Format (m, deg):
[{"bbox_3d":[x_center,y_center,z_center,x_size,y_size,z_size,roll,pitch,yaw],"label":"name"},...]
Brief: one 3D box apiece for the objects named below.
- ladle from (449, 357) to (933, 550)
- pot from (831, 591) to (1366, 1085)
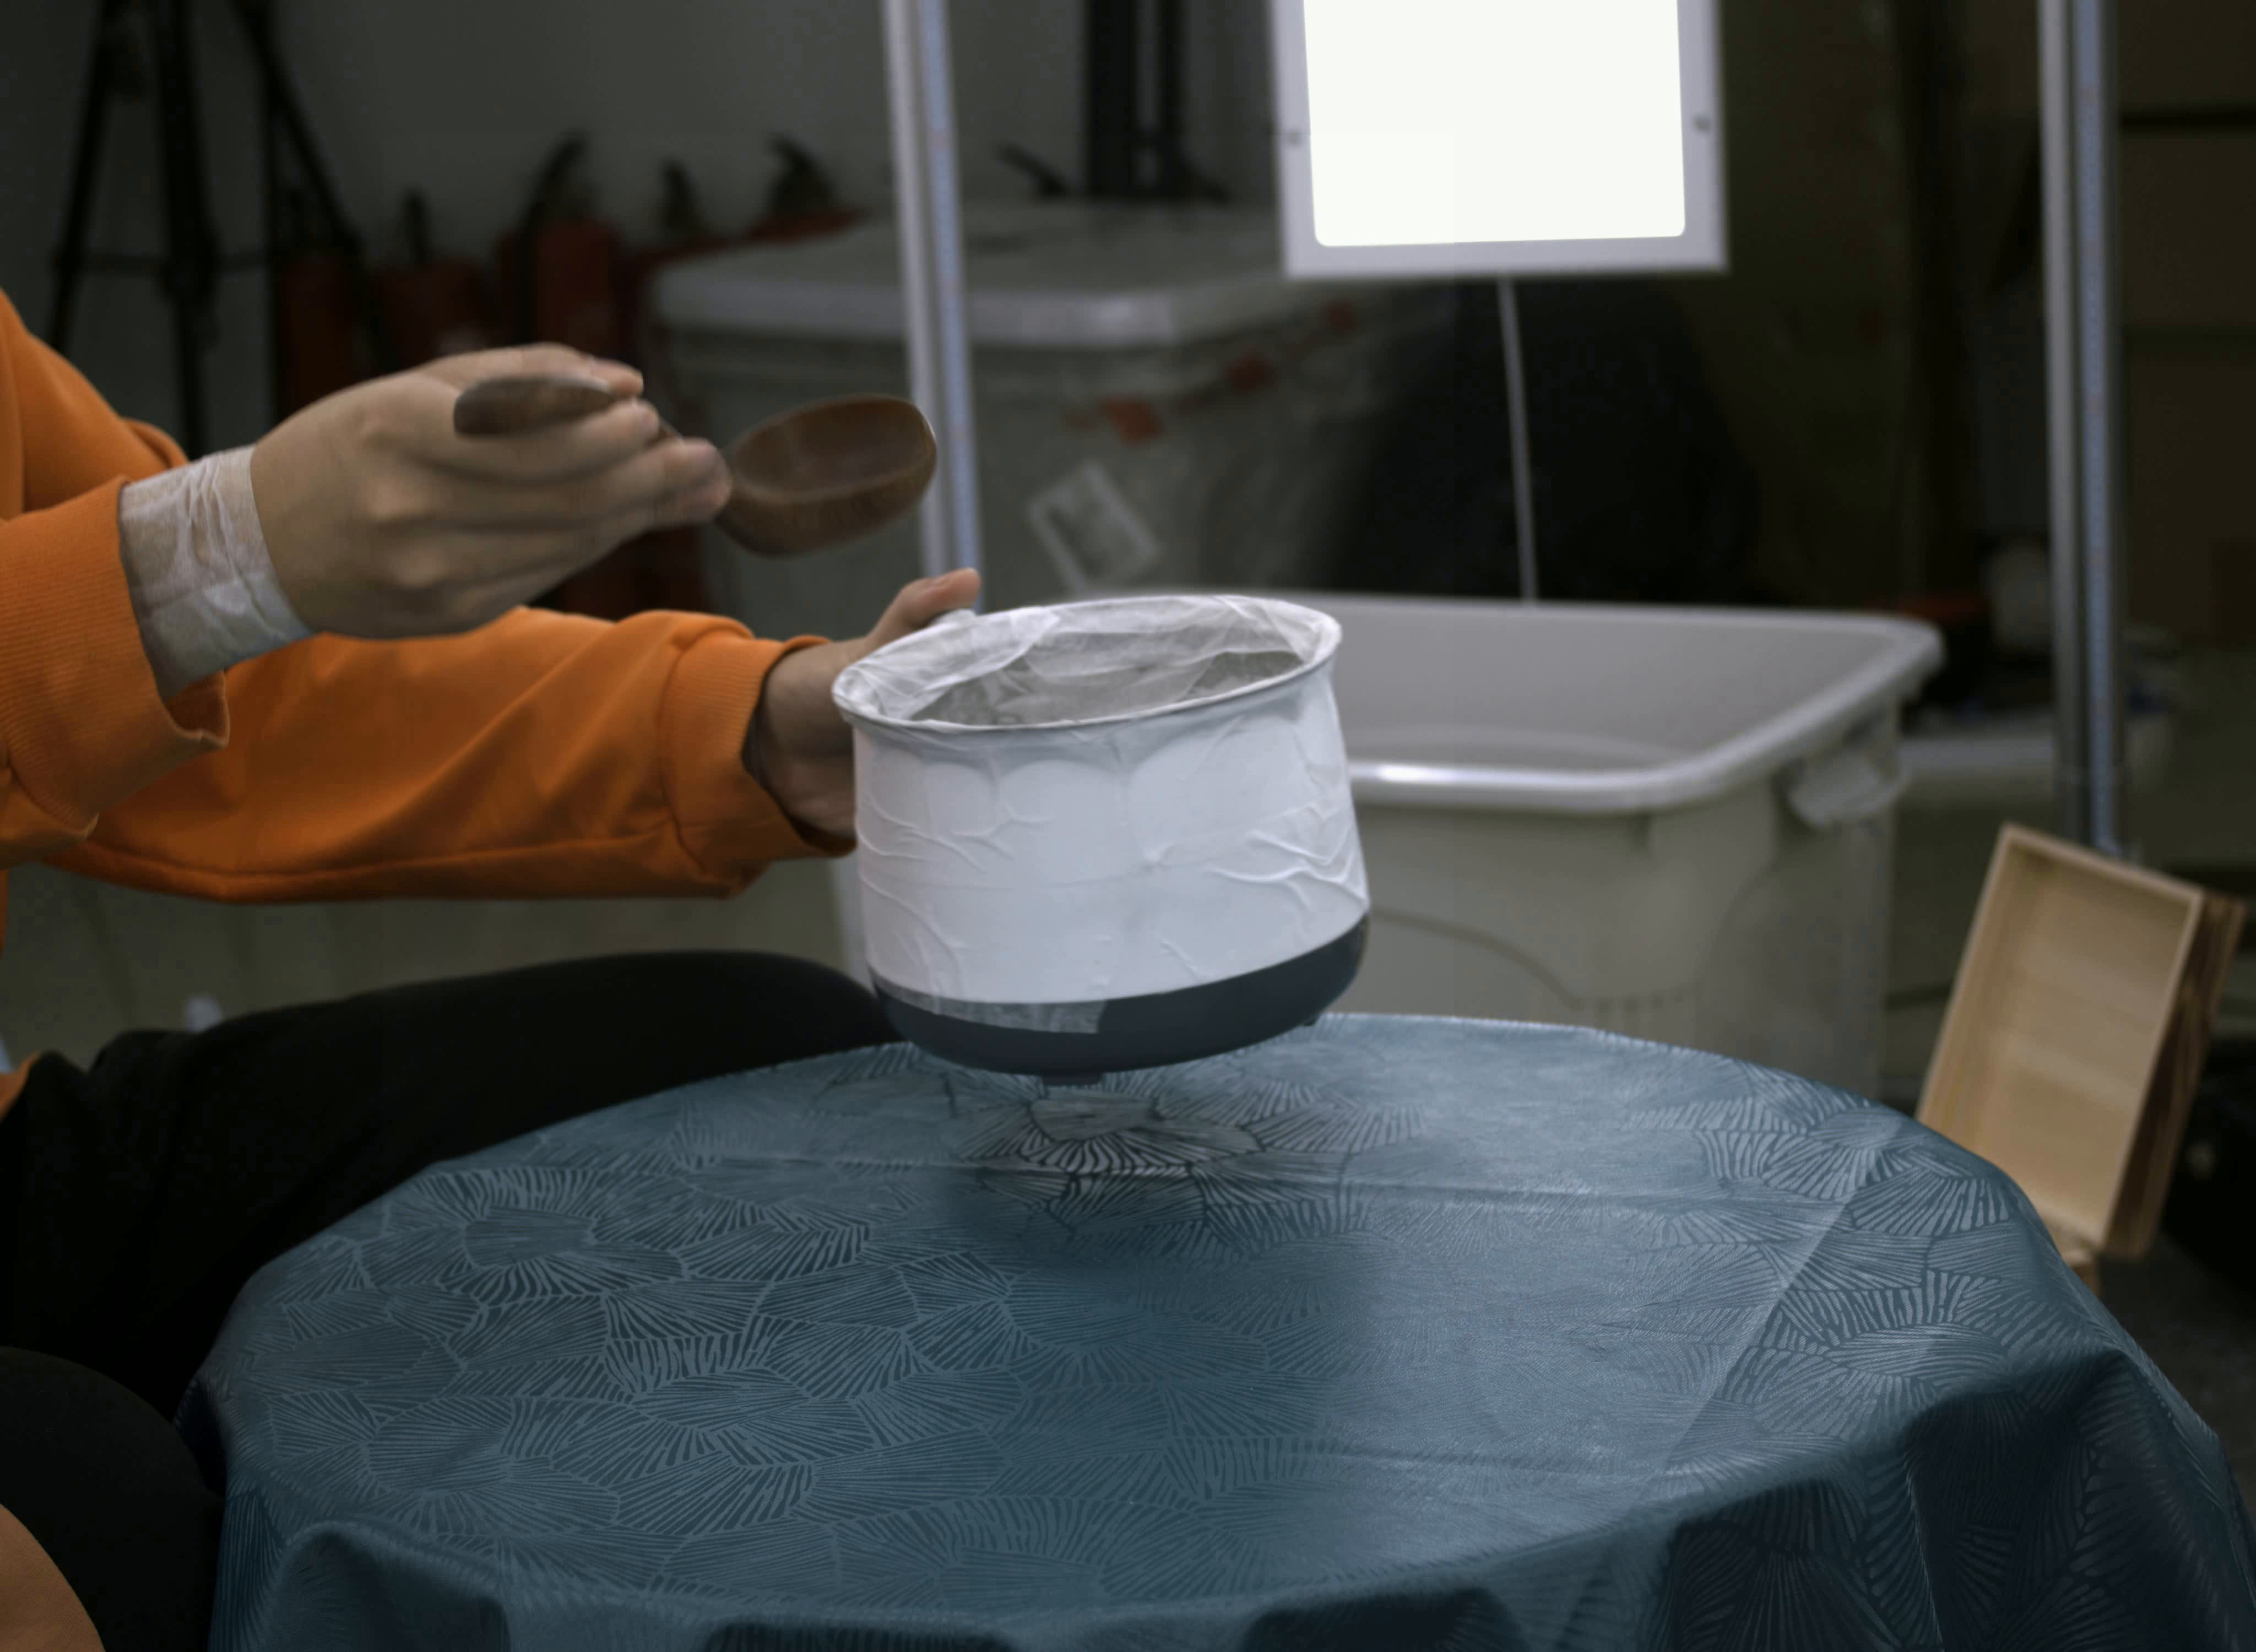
[{"bbox_3d":[-0.137,-0.129,1.685,0.078,0.065,0.255,-8,-12,23],"label":"ladle"},{"bbox_3d":[-0.022,-0.002,1.928,0.175,0.137,0.238,-14,17,-26],"label":"pot"}]
